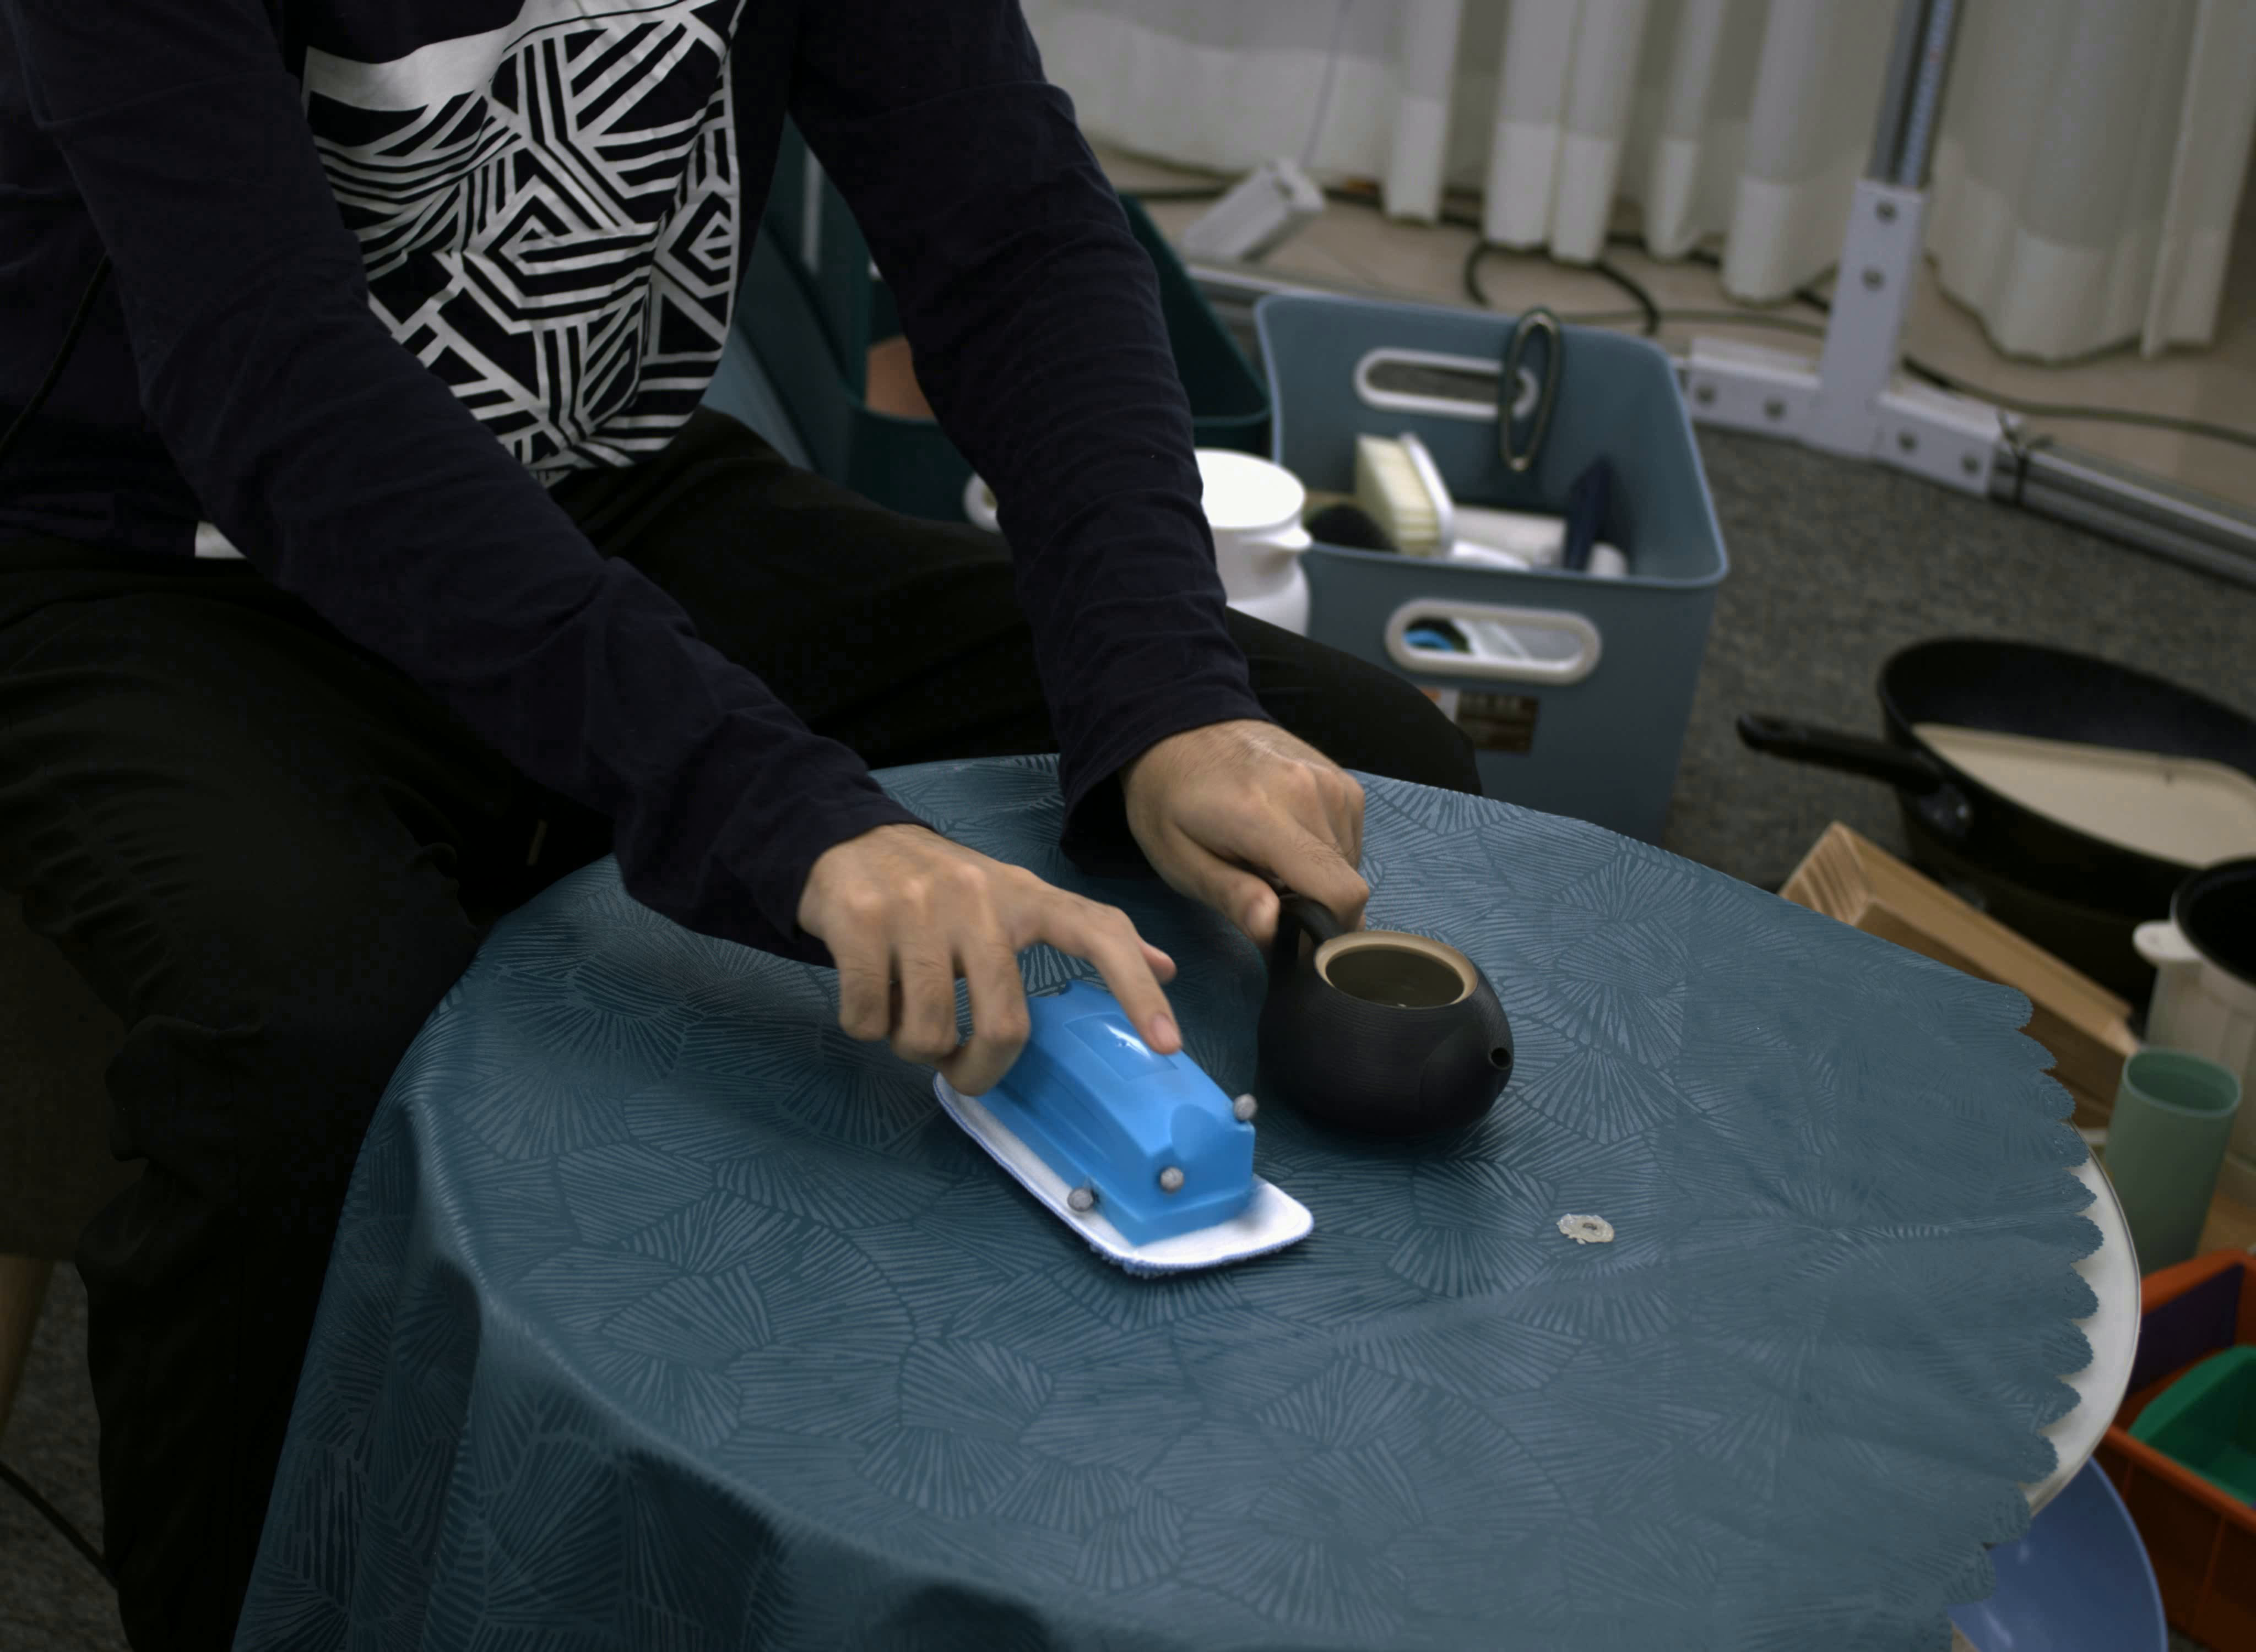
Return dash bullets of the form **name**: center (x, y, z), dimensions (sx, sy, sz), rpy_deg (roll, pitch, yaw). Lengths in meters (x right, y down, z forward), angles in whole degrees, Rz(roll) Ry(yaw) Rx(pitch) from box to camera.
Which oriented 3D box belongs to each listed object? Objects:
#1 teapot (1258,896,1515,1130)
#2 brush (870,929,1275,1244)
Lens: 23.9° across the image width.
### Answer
- **teapot**: center (0.091, 0.071, 1.868), dimensions (0.090, 0.053, 0.134), rpy_deg (-10, 32, -32)
- **brush**: center (-0.013, 0.082, 1.783), dimensions (0.145, 0.056, 0.083), rpy_deg (37, 27, 24)
